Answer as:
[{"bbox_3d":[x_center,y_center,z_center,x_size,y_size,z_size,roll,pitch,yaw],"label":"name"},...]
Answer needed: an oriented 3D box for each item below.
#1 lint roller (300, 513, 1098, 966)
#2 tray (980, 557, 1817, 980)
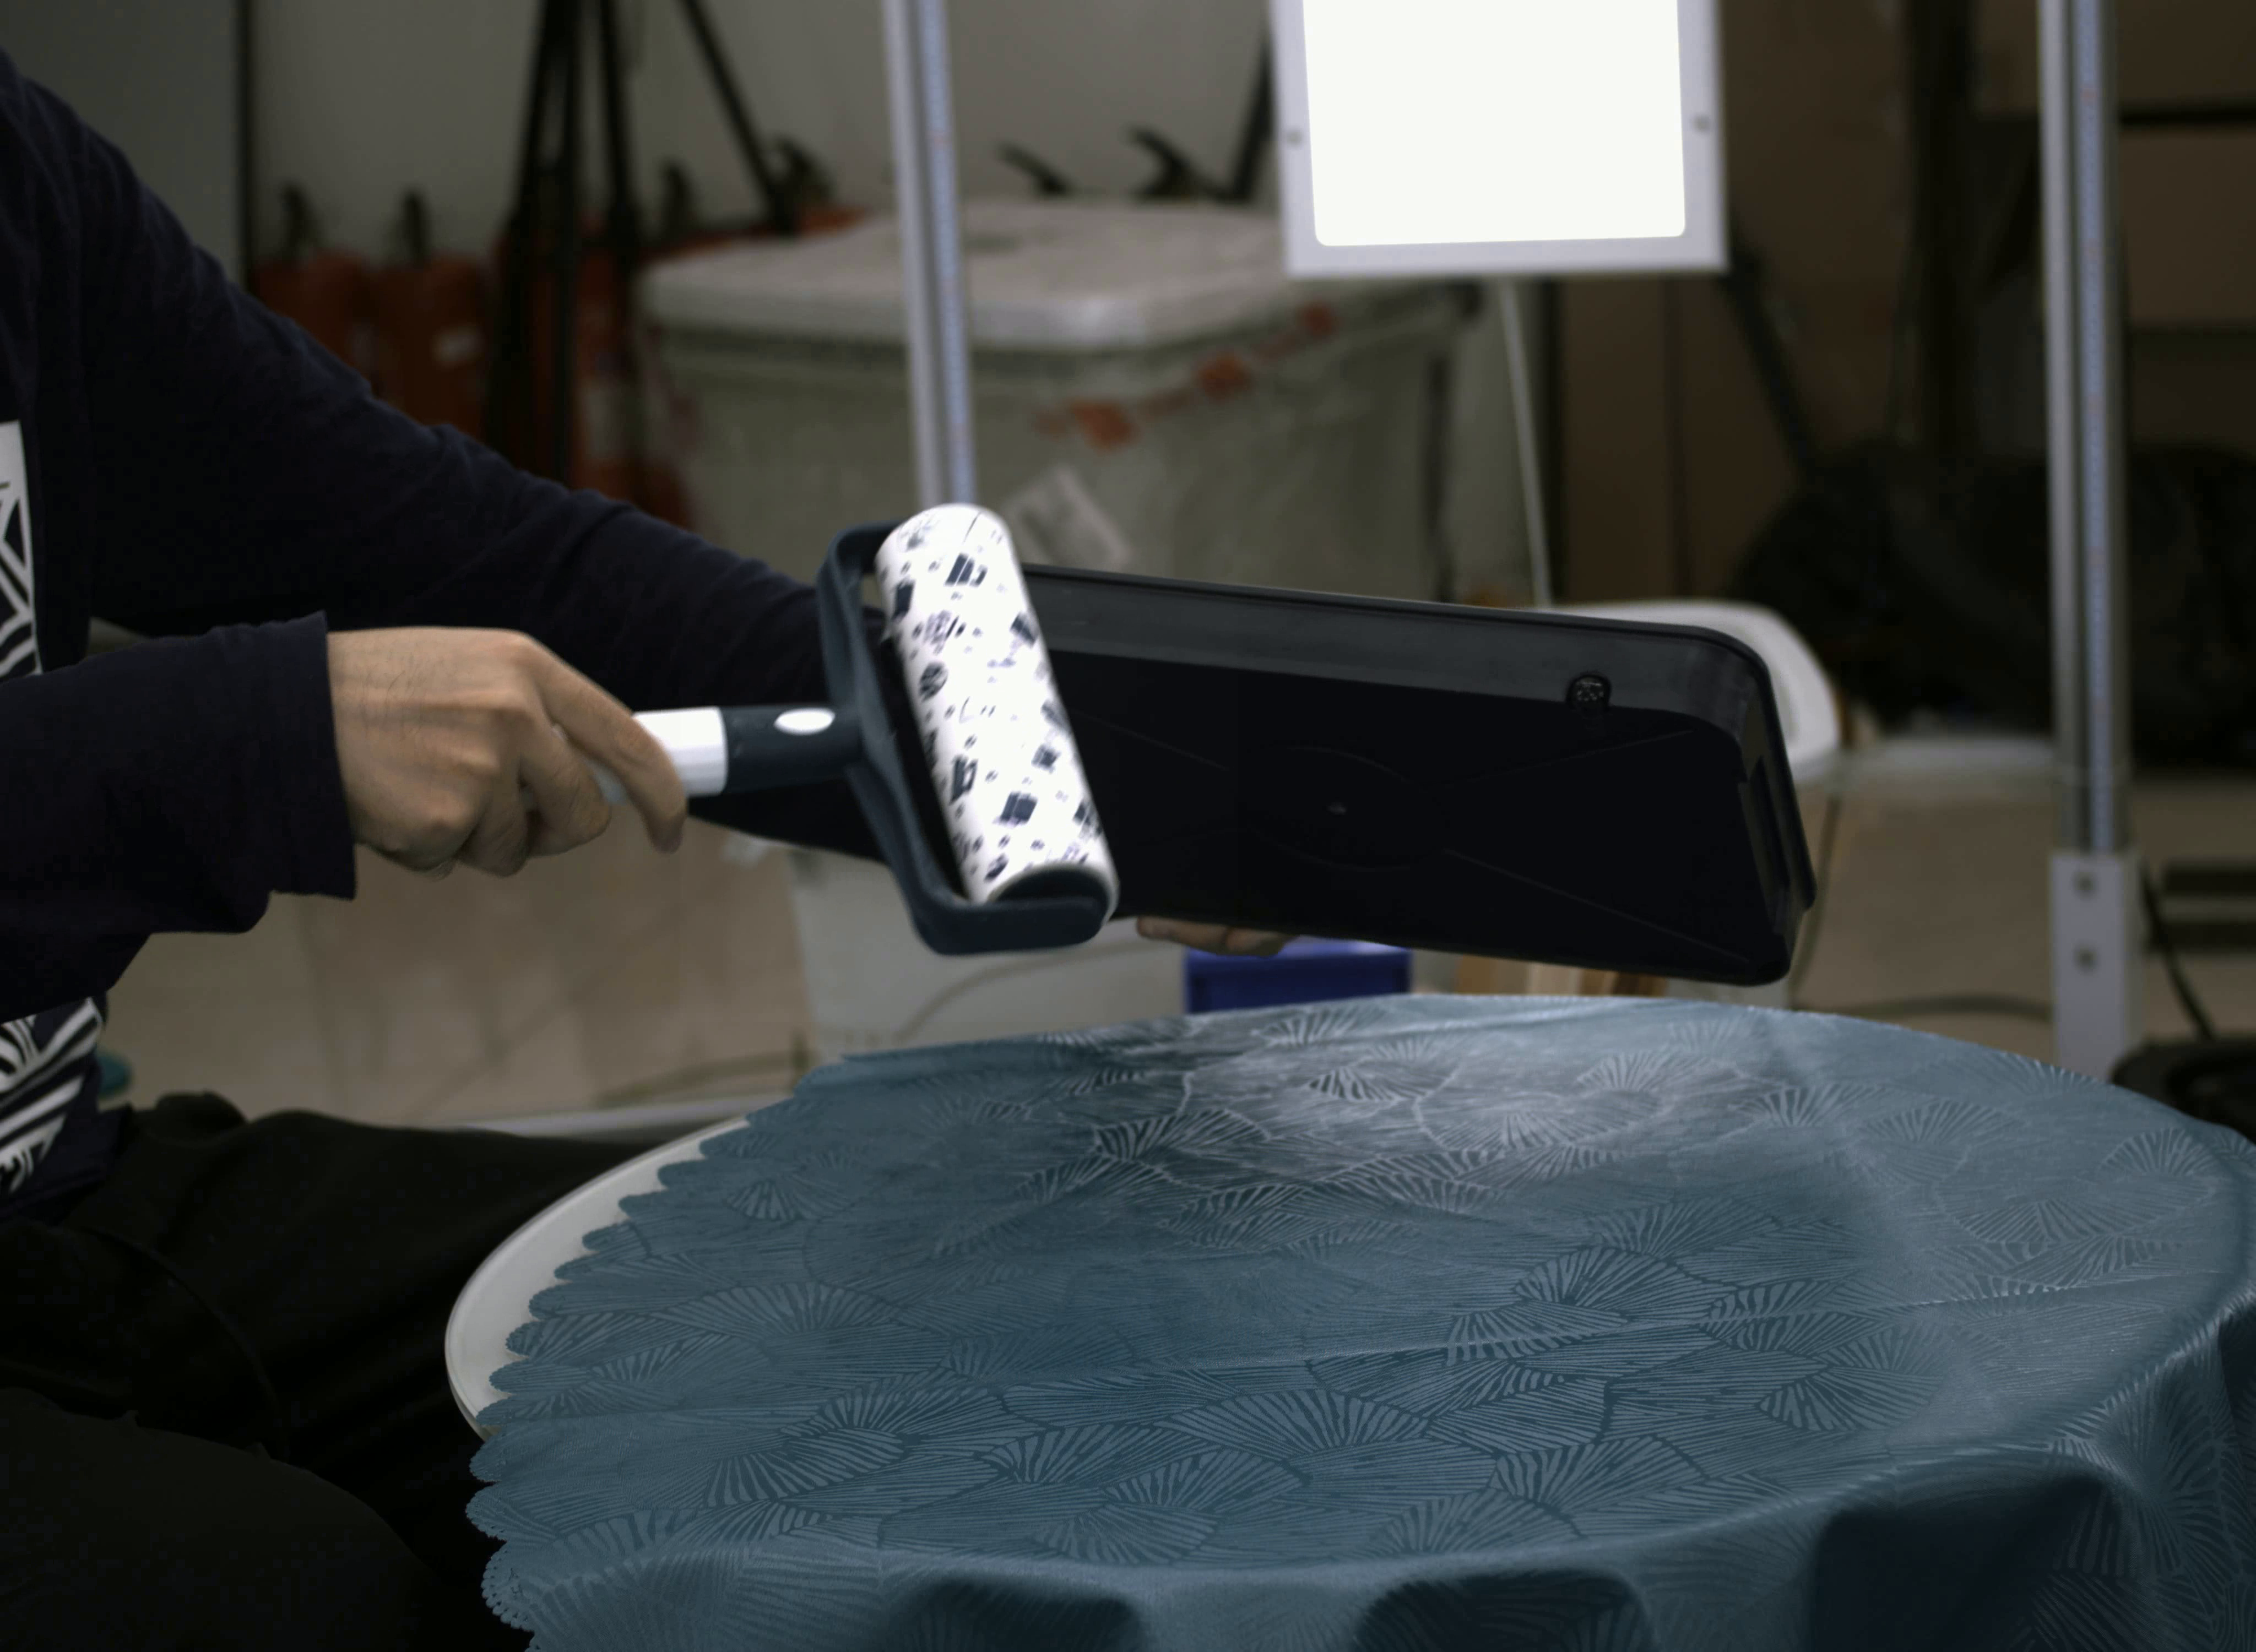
[{"bbox_3d":[-0.144,-0.021,1.788,0.243,0.051,0.177,-6,50,-14],"label":"lint roller"},{"bbox_3d":[0.078,-0.020,1.948,0.322,0.183,0.037,6,58,20],"label":"tray"}]
